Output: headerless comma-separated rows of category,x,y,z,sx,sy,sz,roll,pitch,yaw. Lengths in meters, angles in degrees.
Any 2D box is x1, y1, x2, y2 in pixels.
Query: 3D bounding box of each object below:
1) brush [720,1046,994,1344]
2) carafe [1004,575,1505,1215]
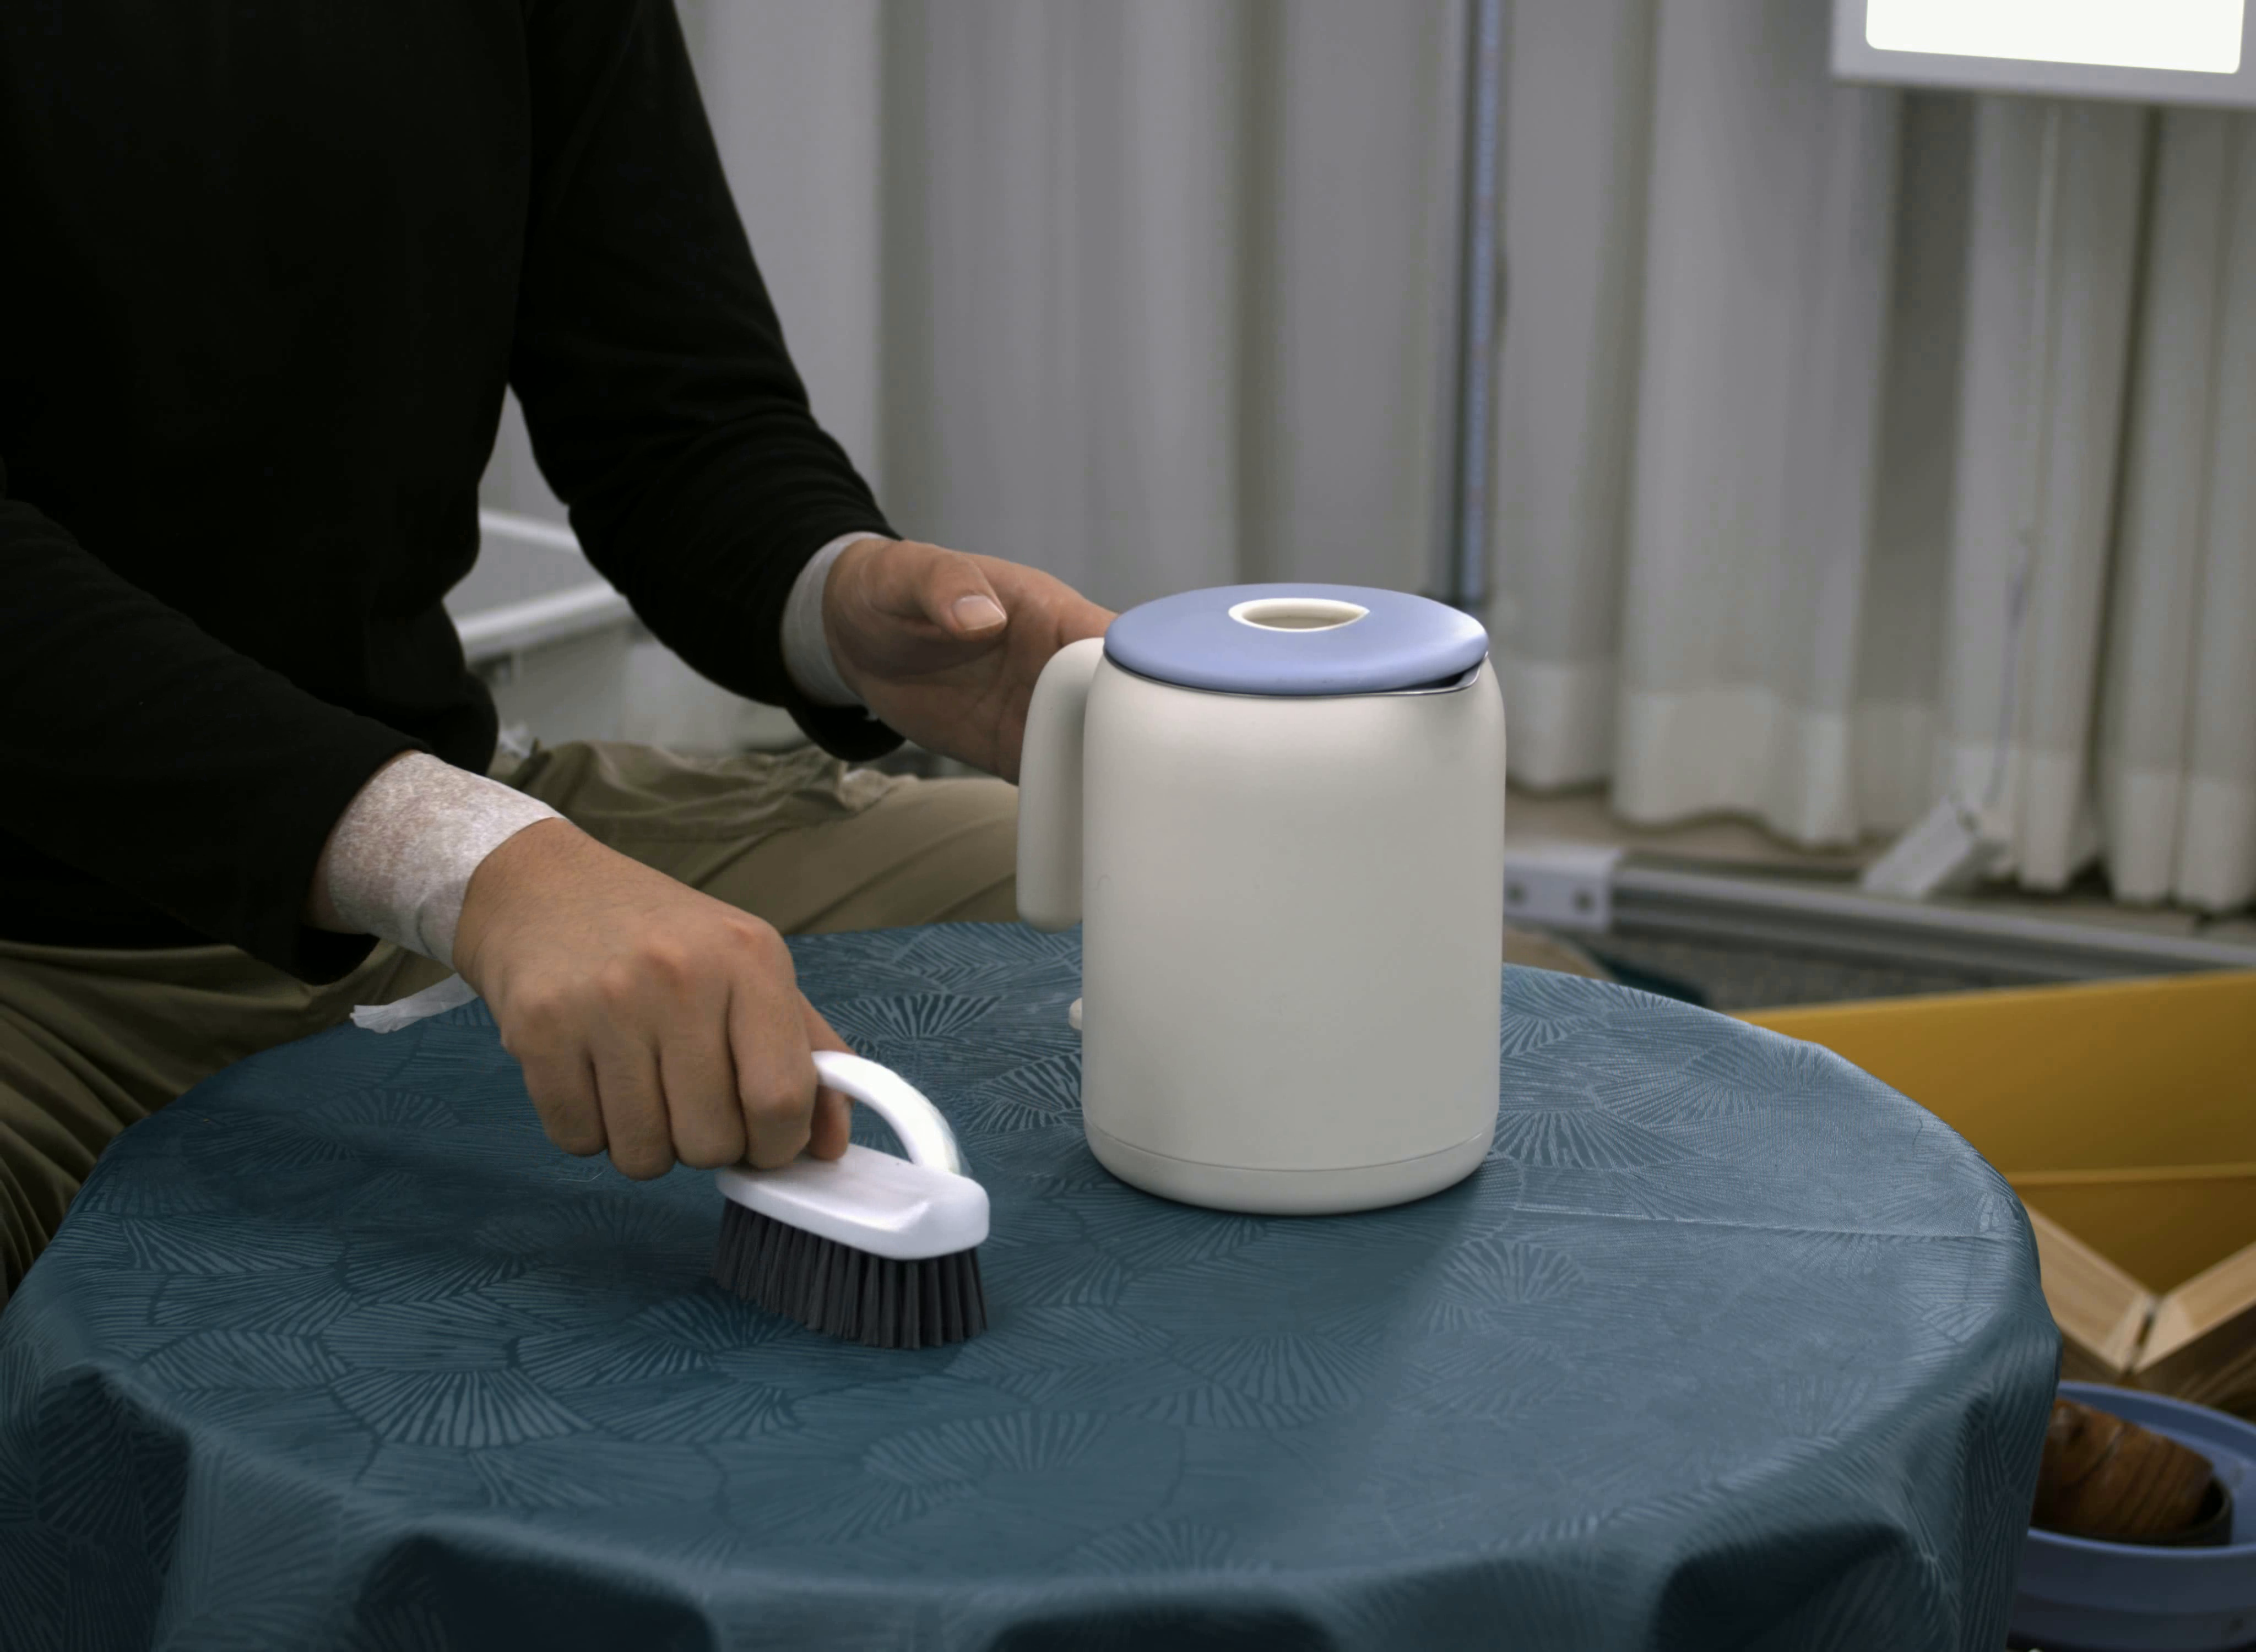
brush,-0.080,0.101,1.519,0.050,0.073,0.098,-14,21,-38
carafe,0.033,0.016,1.647,0.188,0.184,0.133,13,20,41
